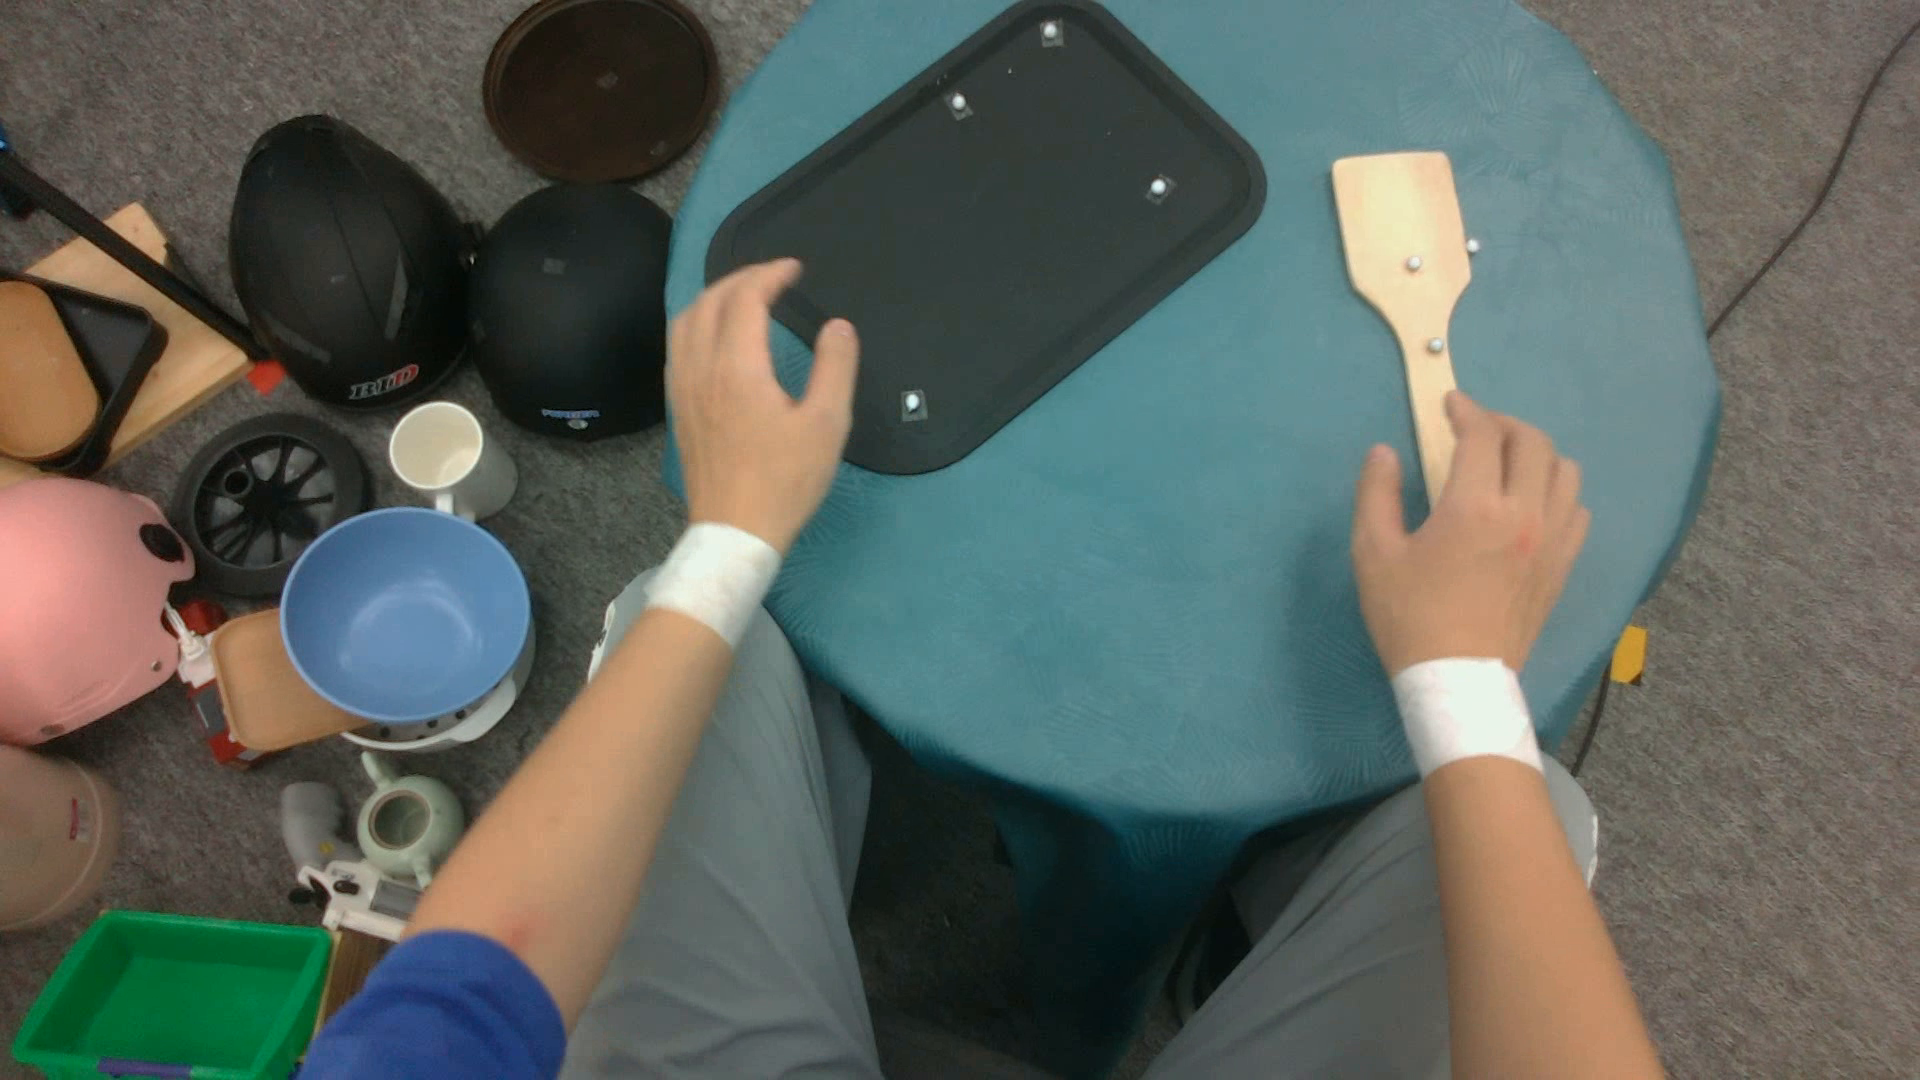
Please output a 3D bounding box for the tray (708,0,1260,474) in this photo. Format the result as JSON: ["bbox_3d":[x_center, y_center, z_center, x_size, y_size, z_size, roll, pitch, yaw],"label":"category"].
[{"bbox_3d":[0.010,-0.185,0.823,0.326,0.010,0.211,-39,75,-10],"label":"tray"}]

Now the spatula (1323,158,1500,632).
[{"bbox_3d":[0.267,-0.089,0.786,0.072,0.010,0.294,-5,72,-2],"label":"spatula"}]
